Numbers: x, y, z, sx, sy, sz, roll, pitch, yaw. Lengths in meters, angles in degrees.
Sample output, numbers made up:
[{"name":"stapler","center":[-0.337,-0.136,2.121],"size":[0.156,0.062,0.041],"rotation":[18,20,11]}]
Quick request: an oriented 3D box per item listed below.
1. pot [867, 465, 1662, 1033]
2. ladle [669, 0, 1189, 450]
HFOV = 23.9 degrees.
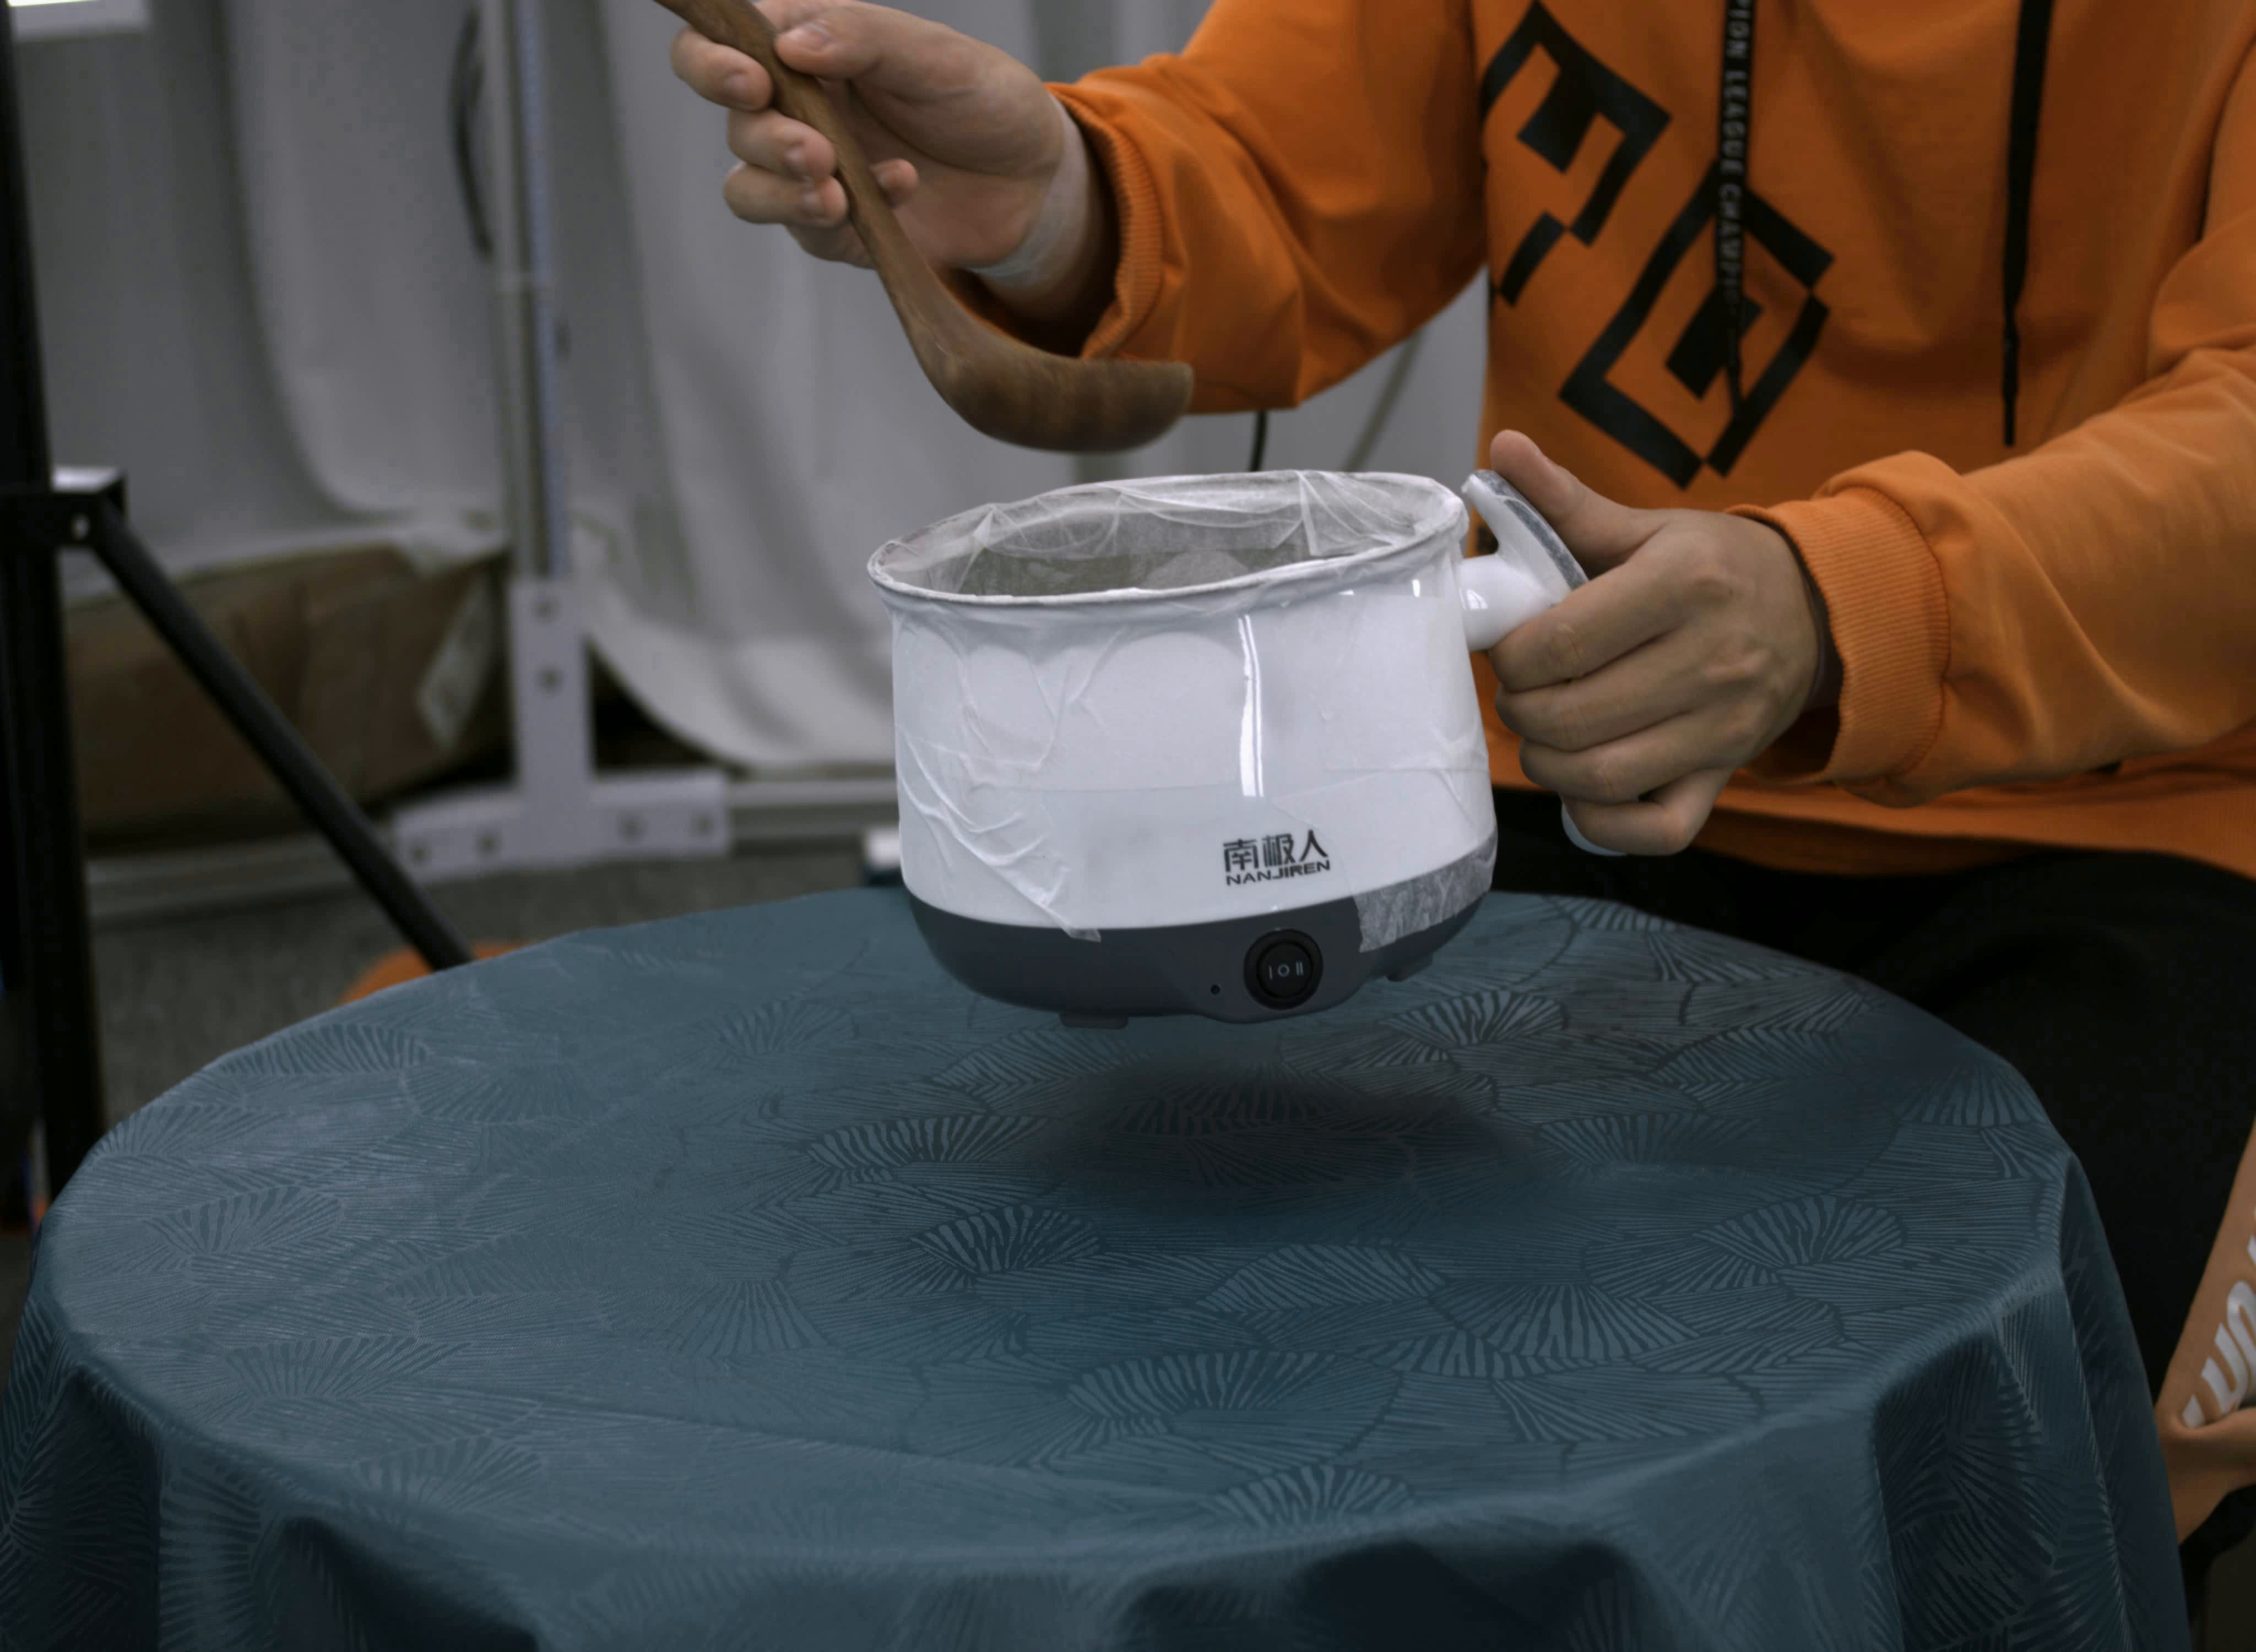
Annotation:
[{"name":"pot","center":[0.044,-0.029,1.580],"size":[0.230,0.136,0.181],"rotation":[-10,15,-13]},{"name":"ladle","center":[-0.075,-0.202,1.610],"size":[0.074,0.065,0.265],"rotation":[6,40,-55]}]
